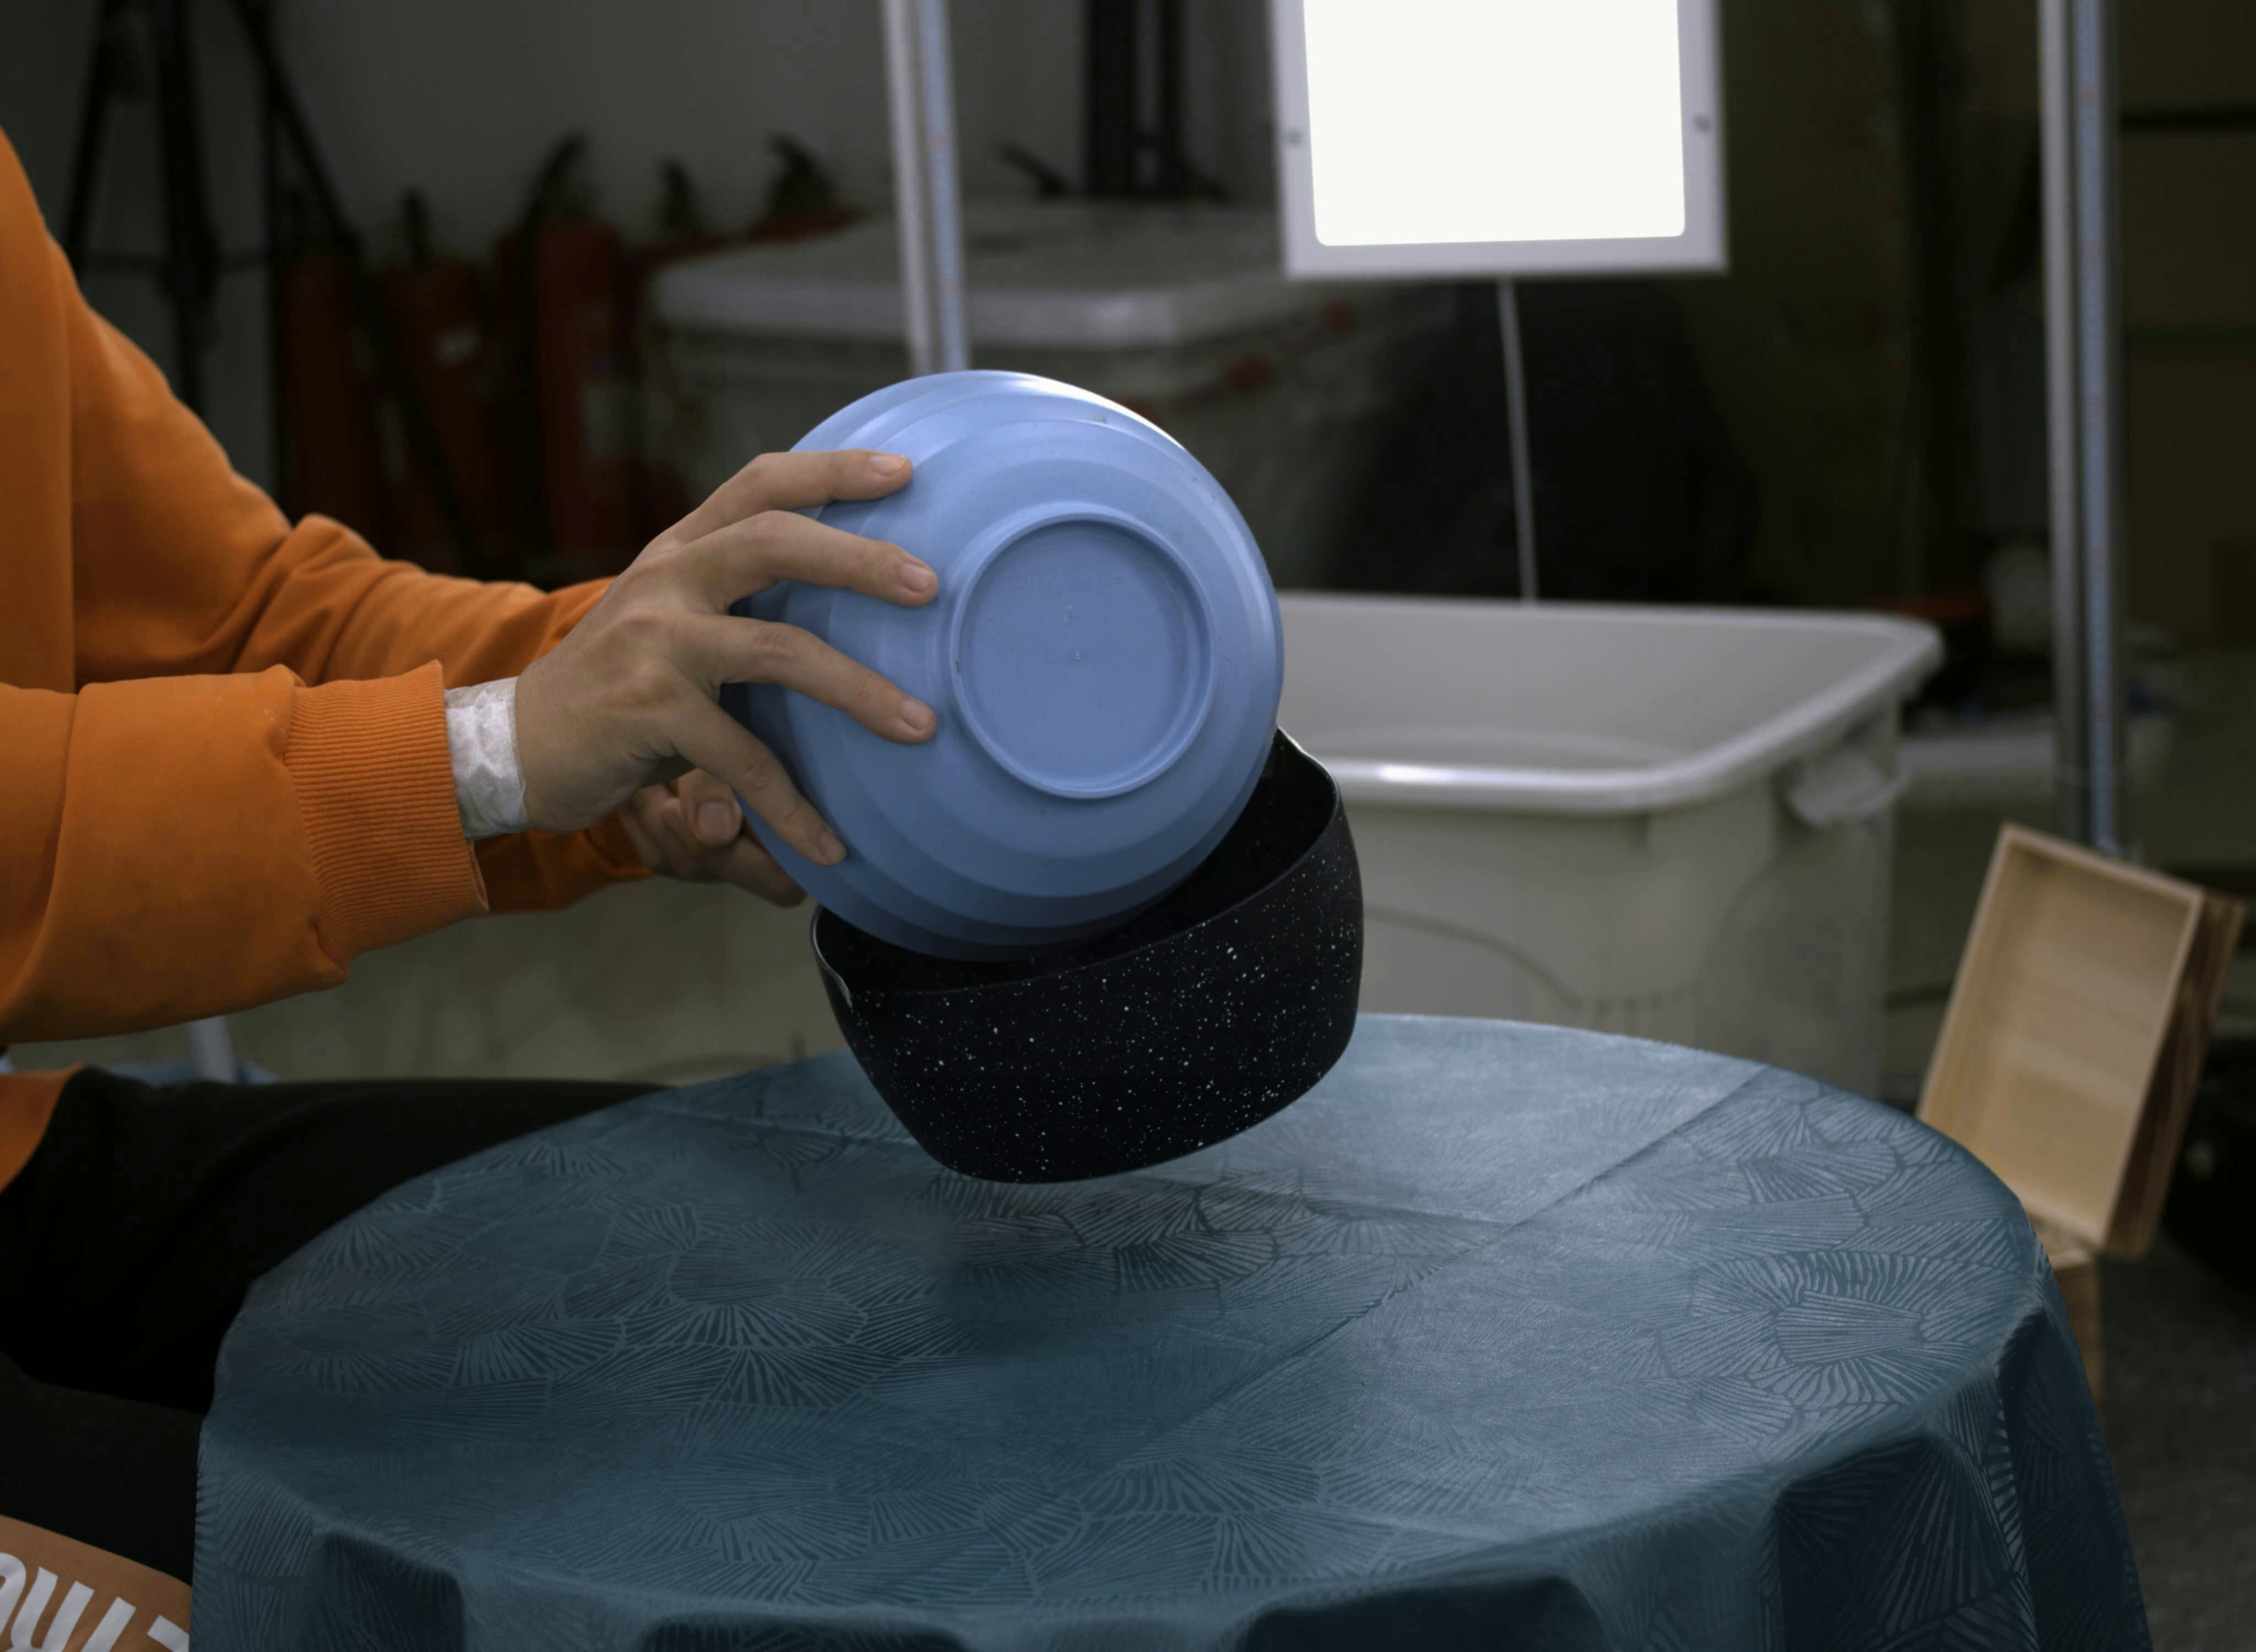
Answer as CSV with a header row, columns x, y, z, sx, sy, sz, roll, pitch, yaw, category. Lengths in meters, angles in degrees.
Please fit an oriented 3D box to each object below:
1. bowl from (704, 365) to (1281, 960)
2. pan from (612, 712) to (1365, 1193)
x,y,z,sx,sy,sz,roll,pitch,yaw,category
-0.030,-0.054,1.777,0.193,0.197,0.097,-9,3,-19,bowl
-0.062,0.030,1.900,0.203,0.108,0.350,-33,27,-32,pan
